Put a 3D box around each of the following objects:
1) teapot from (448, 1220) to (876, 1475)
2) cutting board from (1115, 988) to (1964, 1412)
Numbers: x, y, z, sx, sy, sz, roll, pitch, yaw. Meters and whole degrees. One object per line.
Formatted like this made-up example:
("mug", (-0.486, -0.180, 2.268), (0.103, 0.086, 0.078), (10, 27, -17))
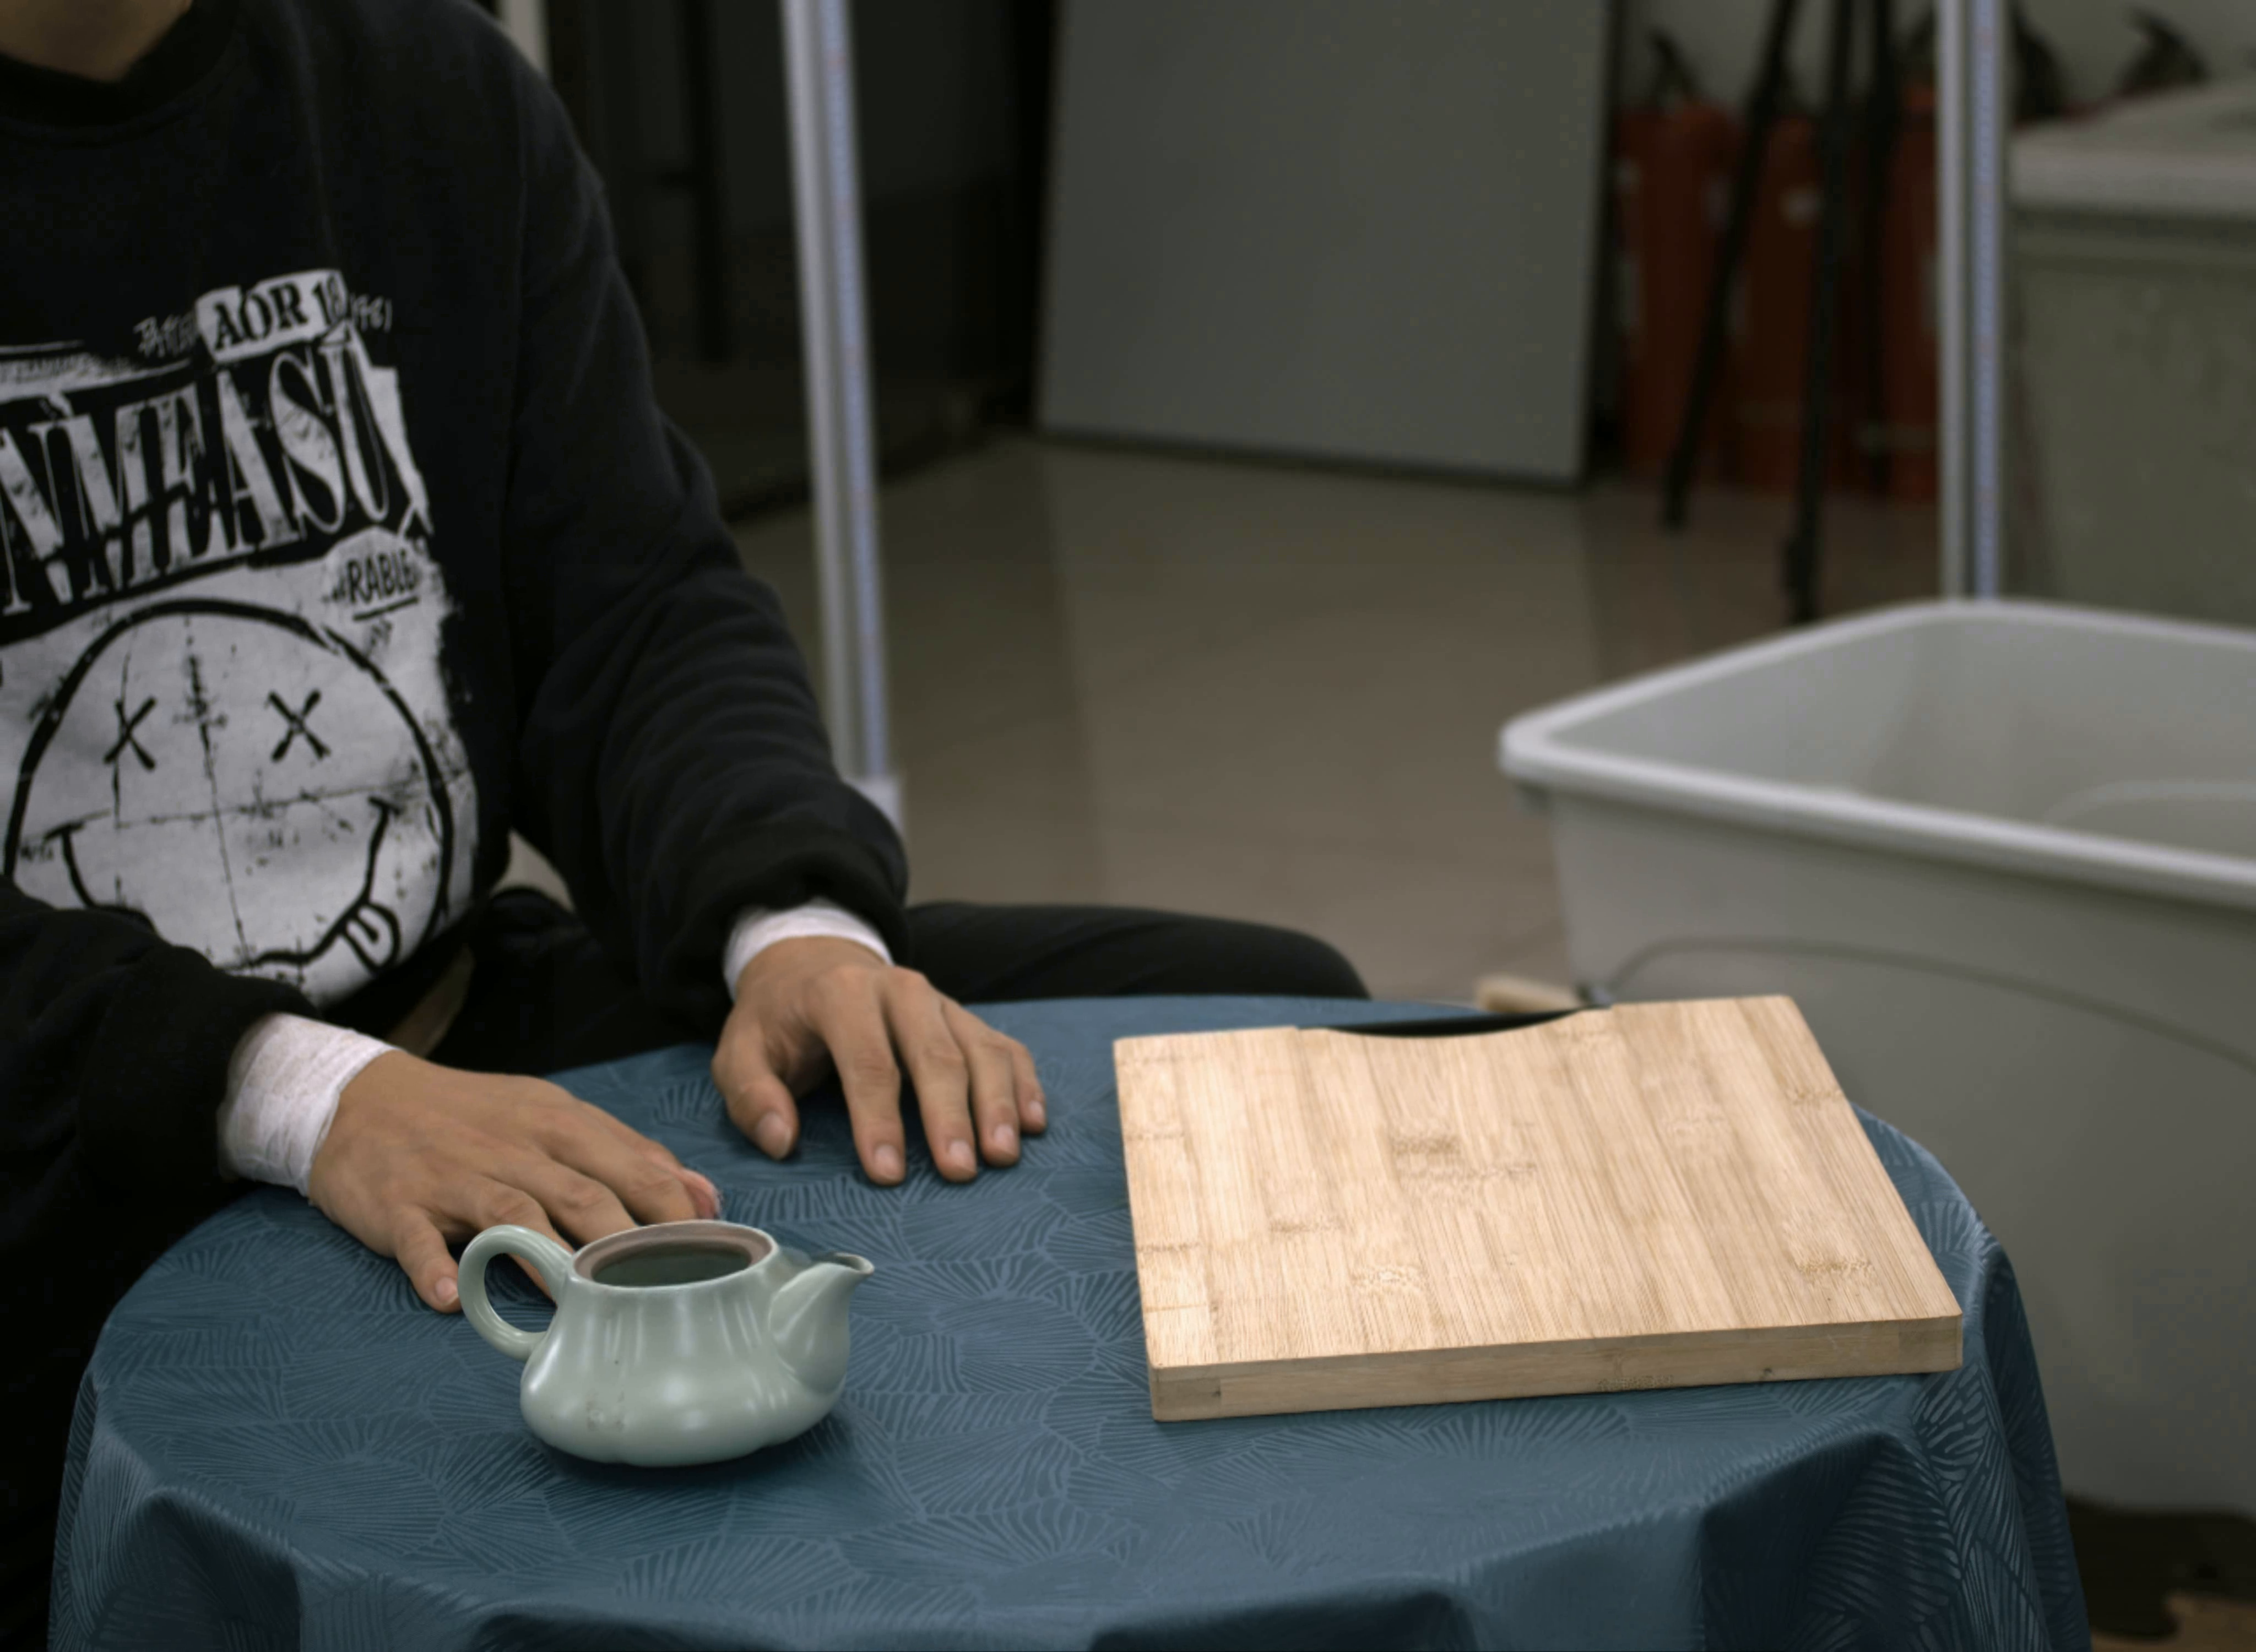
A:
("teapot", (-0.135, 0.150, 1.573), (0.137, 0.062, 0.095), (1, 16, 21))
("cutting board", (0.120, 0.115, 1.727), (0.247, 0.024, 0.349), (-5, 14, -1))
